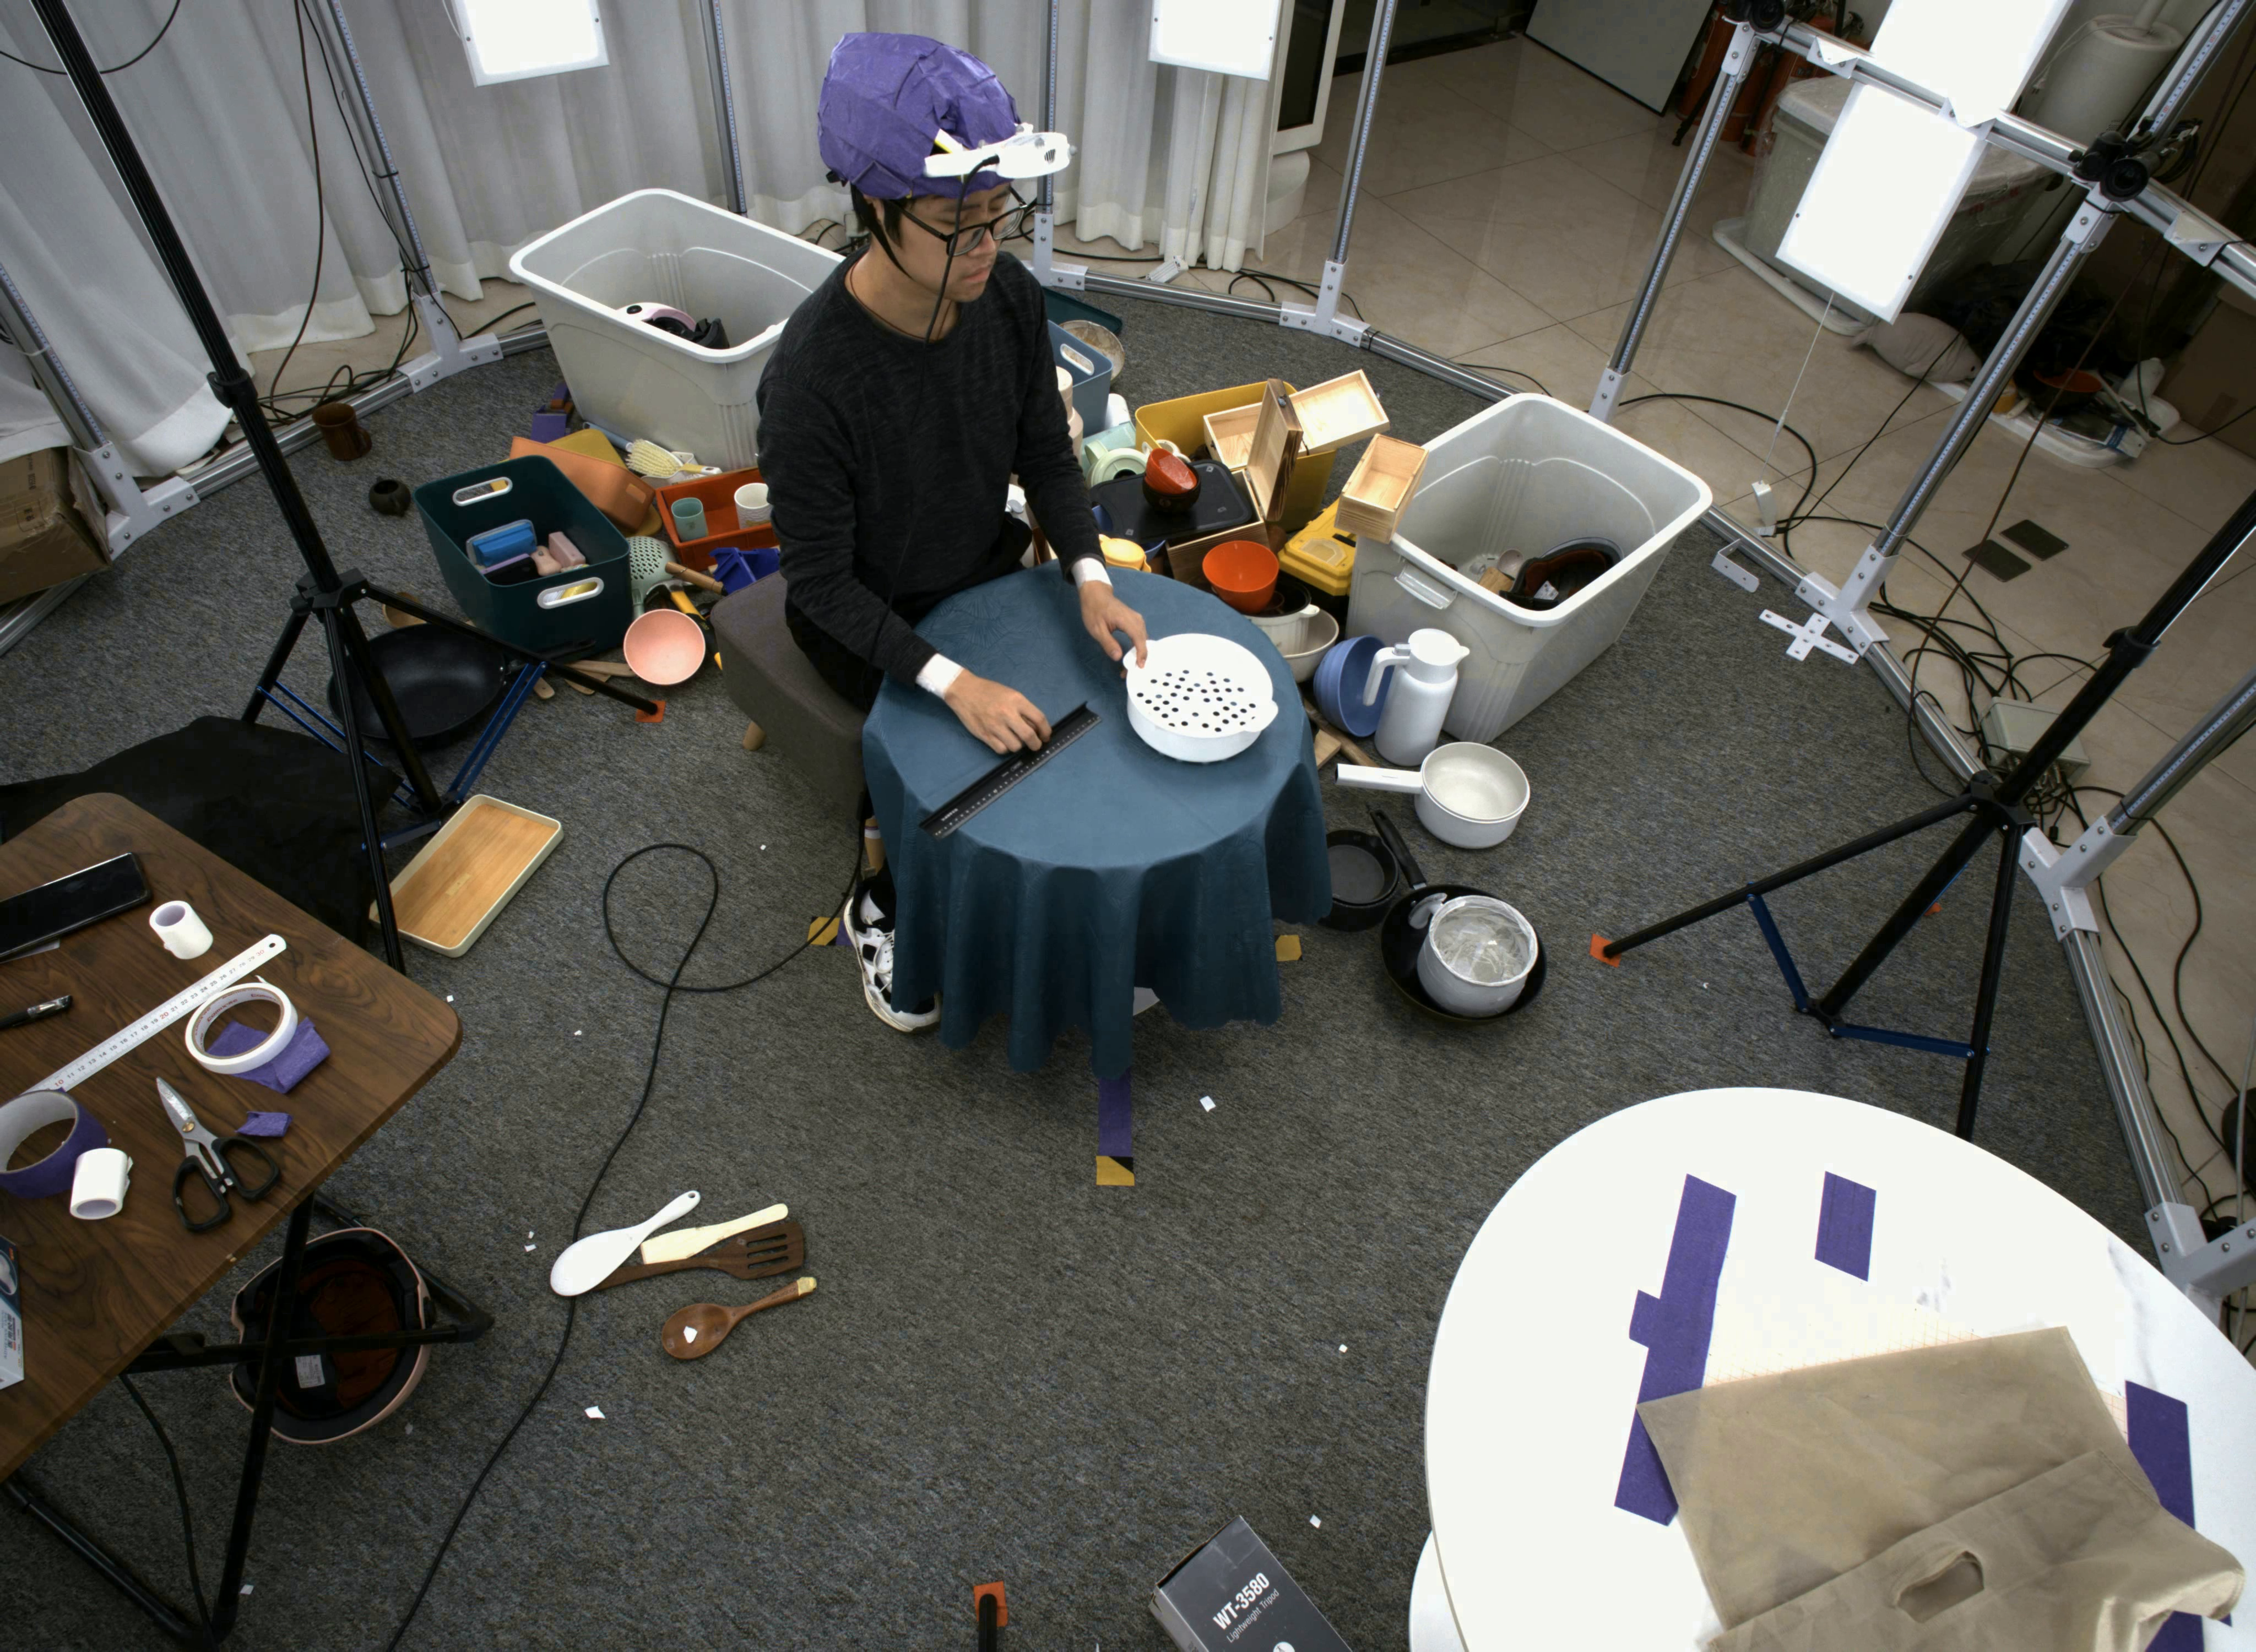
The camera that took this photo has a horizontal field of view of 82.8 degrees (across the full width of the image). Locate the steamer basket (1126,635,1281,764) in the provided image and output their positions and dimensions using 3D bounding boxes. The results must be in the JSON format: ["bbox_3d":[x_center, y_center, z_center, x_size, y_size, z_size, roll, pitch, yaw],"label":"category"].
[{"bbox_3d":[0.101,-0.175,1.785,0.233,0.067,0.205,30,54,18],"label":"steamer basket"}]

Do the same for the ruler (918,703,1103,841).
[{"bbox_3d":[-0.151,-0.078,1.717,0.040,0.017,0.316,38,56,22],"label":"ruler"}]
